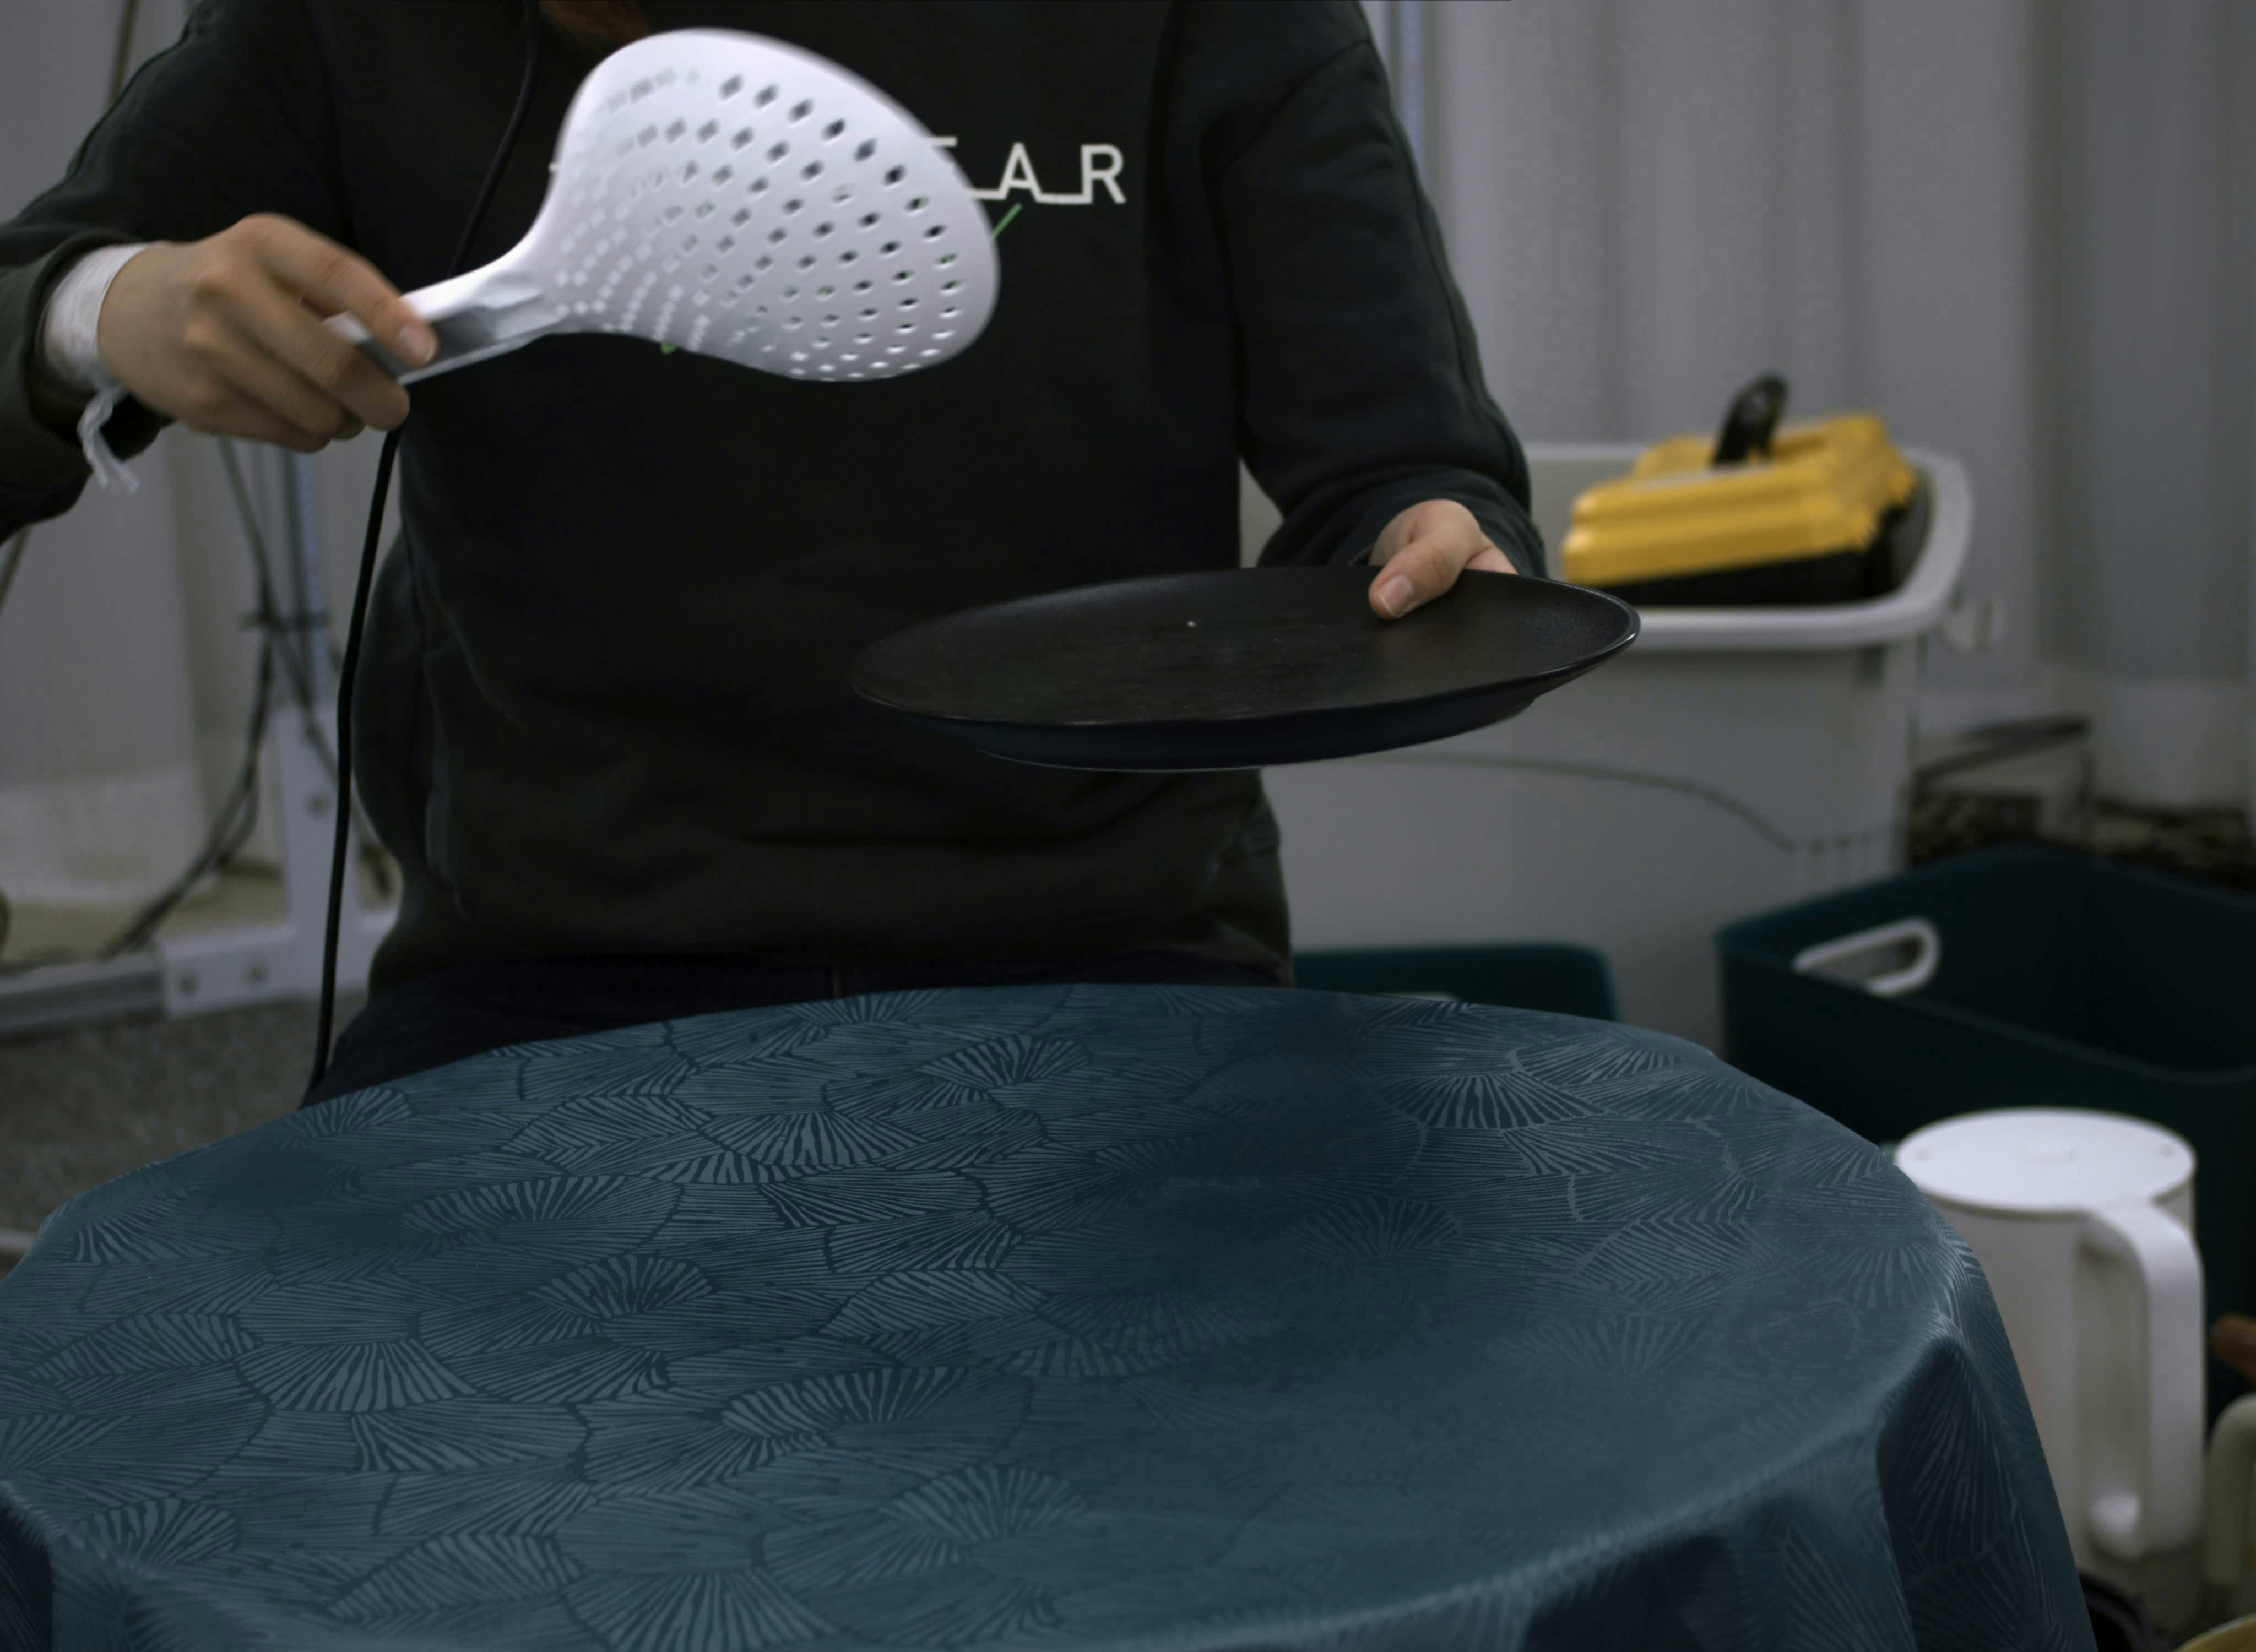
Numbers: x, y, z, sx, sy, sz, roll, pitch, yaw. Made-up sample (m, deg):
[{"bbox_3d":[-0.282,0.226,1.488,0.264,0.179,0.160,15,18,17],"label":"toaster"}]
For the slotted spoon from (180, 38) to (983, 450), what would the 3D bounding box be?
[{"bbox_3d":[-0.184,-0.161,1.688,0.350,0.134,0.046,-7,46,48],"label":"slotted spoon"}]

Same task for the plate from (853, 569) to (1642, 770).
[{"bbox_3d":[0.037,-0.047,1.682,0.243,0.023,0.246,-4,12,1],"label":"plate"}]
